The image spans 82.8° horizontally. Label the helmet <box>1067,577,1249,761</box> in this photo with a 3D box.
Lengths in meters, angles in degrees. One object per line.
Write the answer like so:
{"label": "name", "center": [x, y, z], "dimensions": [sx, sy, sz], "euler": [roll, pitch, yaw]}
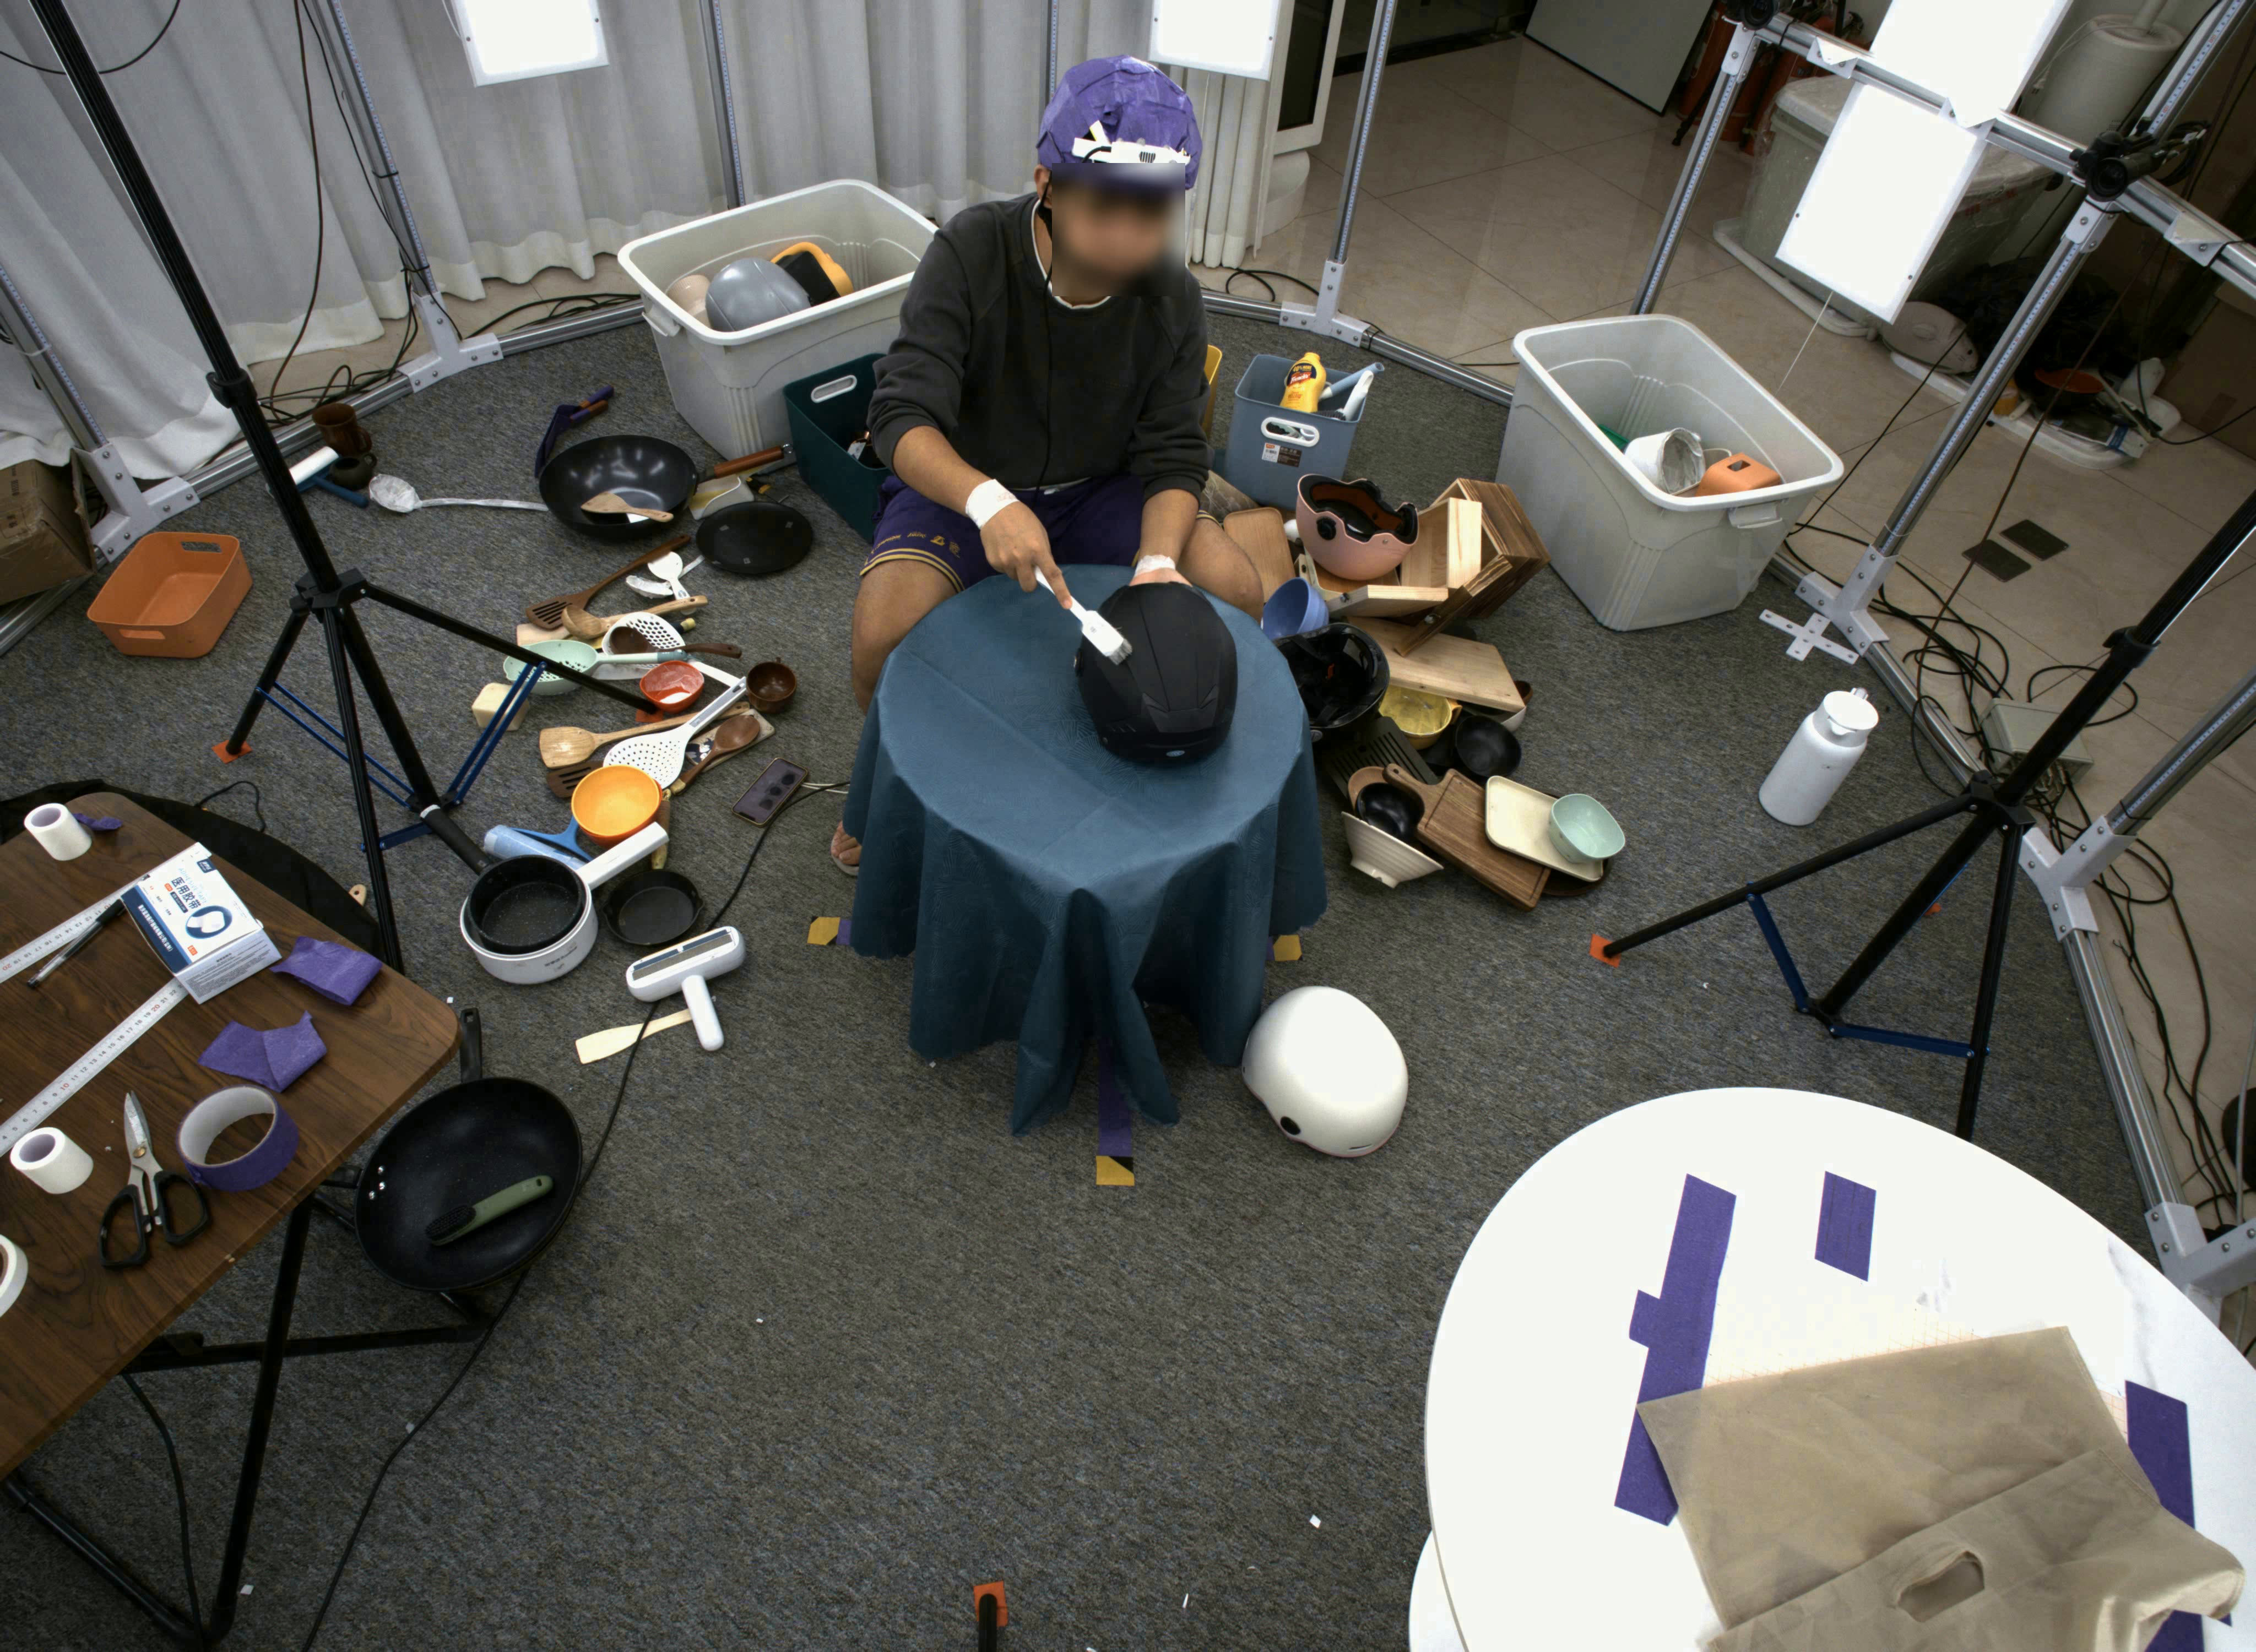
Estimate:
{"label": "helmet", "center": [0.049, -0.228, 1.744], "dimensions": [0.246, 0.169, 0.282], "euler": [-4, 67, -9]}

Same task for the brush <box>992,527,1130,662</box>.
{"label": "brush", "center": [-0.089, -0.305, 1.688], "dimensions": [0.034, 0.050, 0.246], "euler": [-46, 72, 5]}
